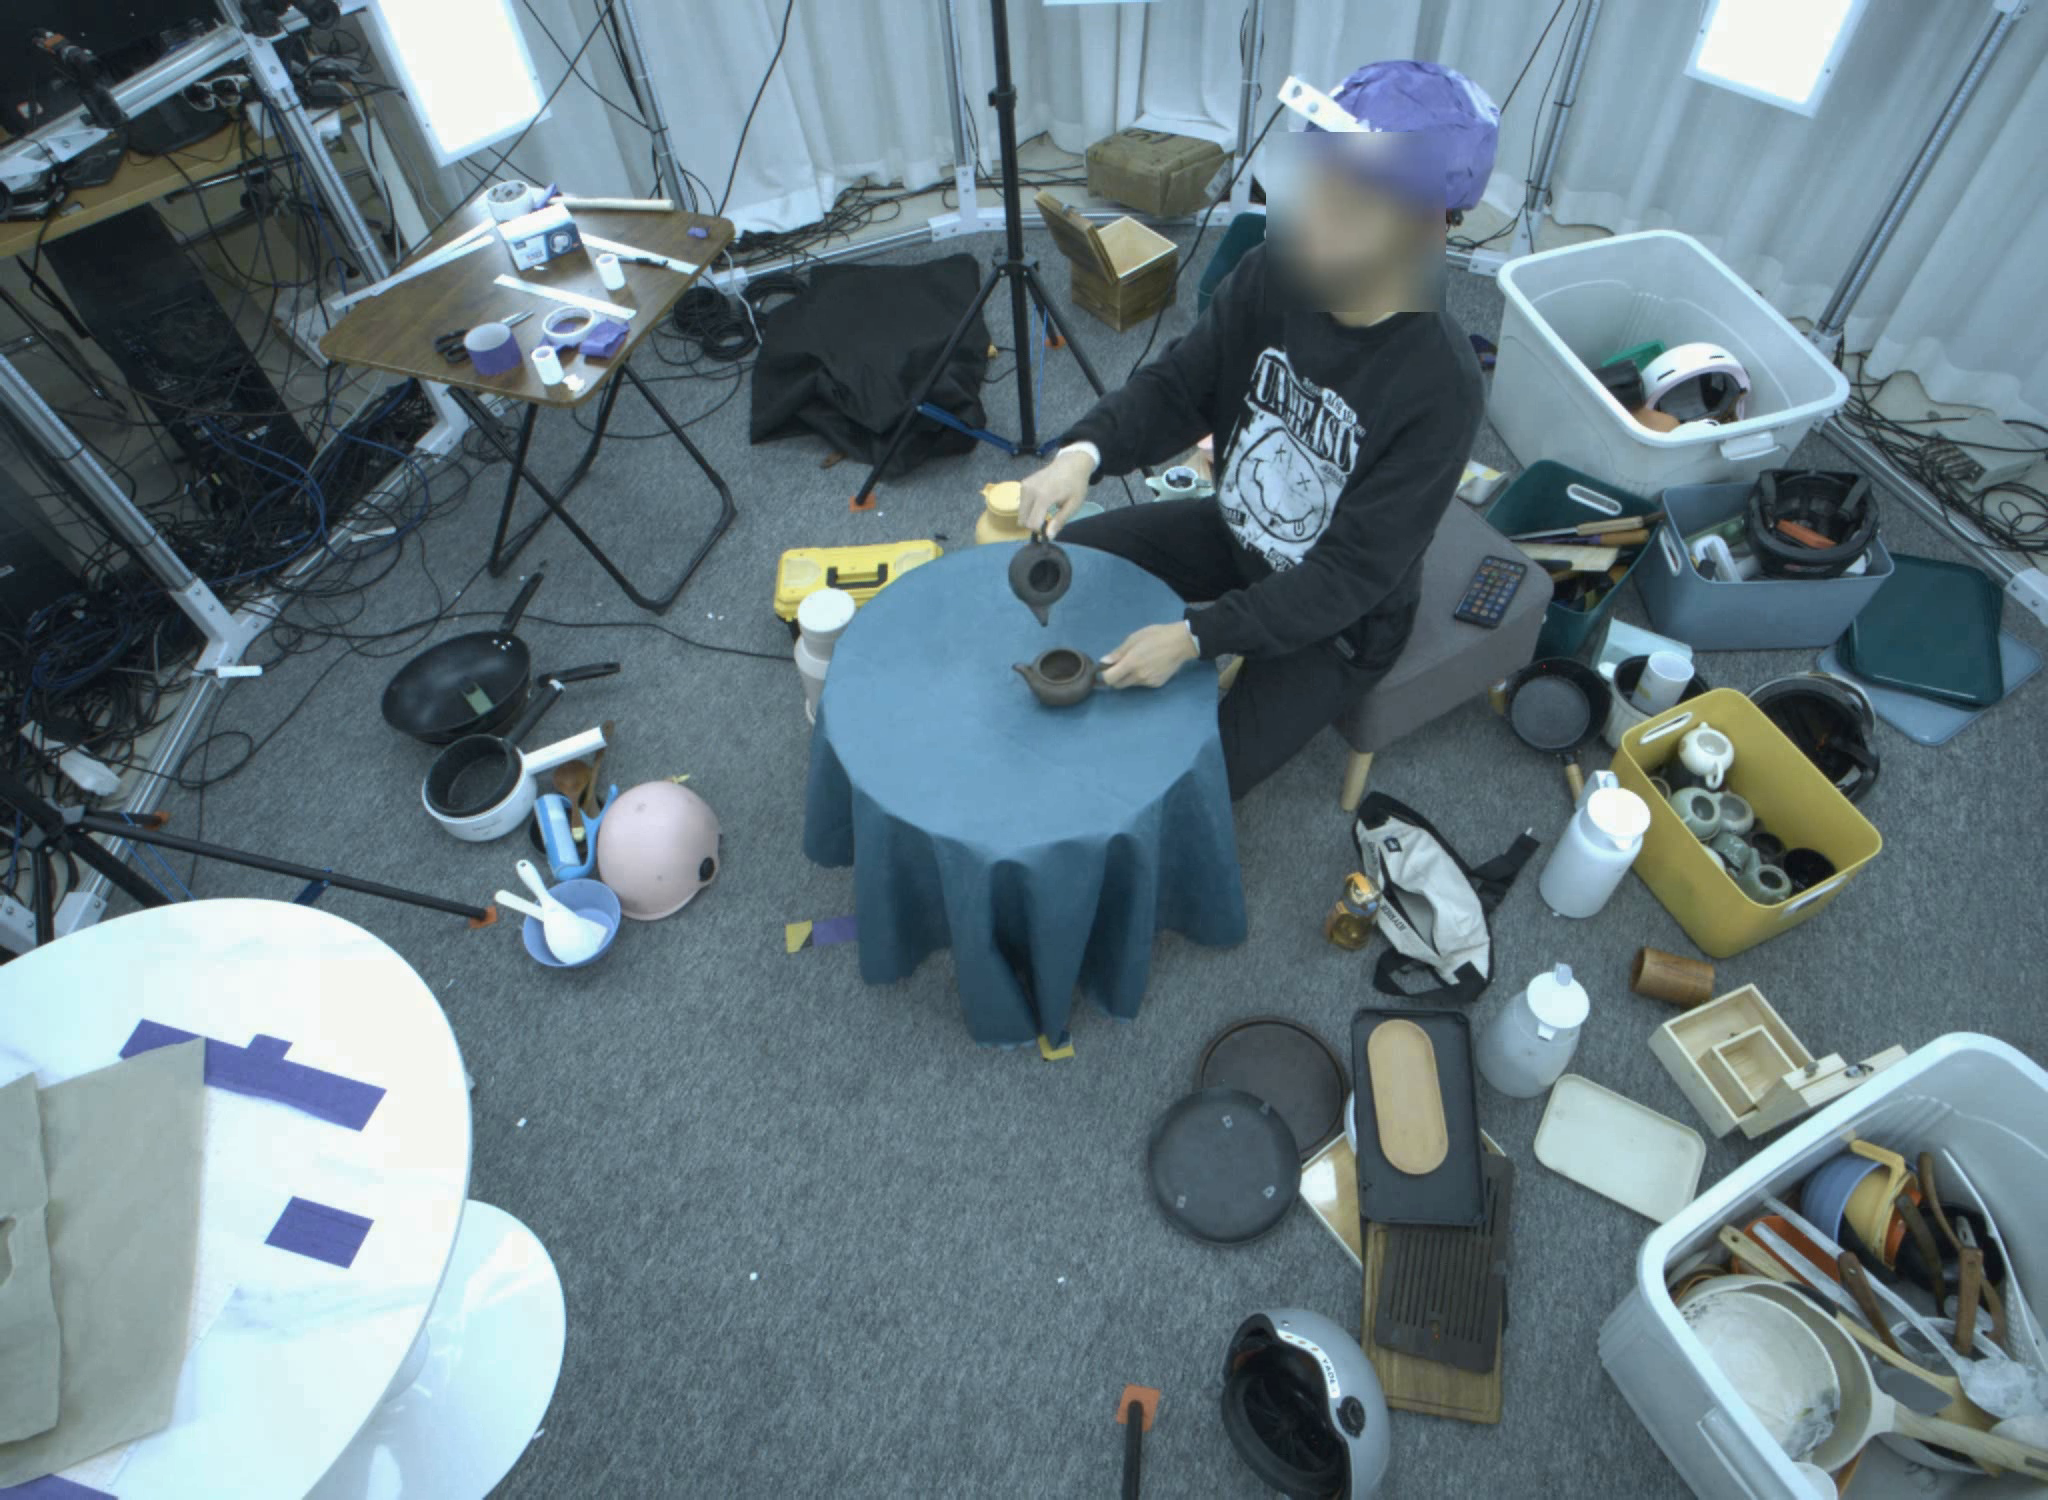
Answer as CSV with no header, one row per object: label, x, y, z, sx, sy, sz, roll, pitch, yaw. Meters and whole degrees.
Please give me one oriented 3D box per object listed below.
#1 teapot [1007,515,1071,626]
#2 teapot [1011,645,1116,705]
teapot,0.020,-0.254,1.730,0.094,0.155,0.063,-7,22,-23
teapot,0.059,-0.113,1.826,0.153,0.054,0.101,-6,54,2
